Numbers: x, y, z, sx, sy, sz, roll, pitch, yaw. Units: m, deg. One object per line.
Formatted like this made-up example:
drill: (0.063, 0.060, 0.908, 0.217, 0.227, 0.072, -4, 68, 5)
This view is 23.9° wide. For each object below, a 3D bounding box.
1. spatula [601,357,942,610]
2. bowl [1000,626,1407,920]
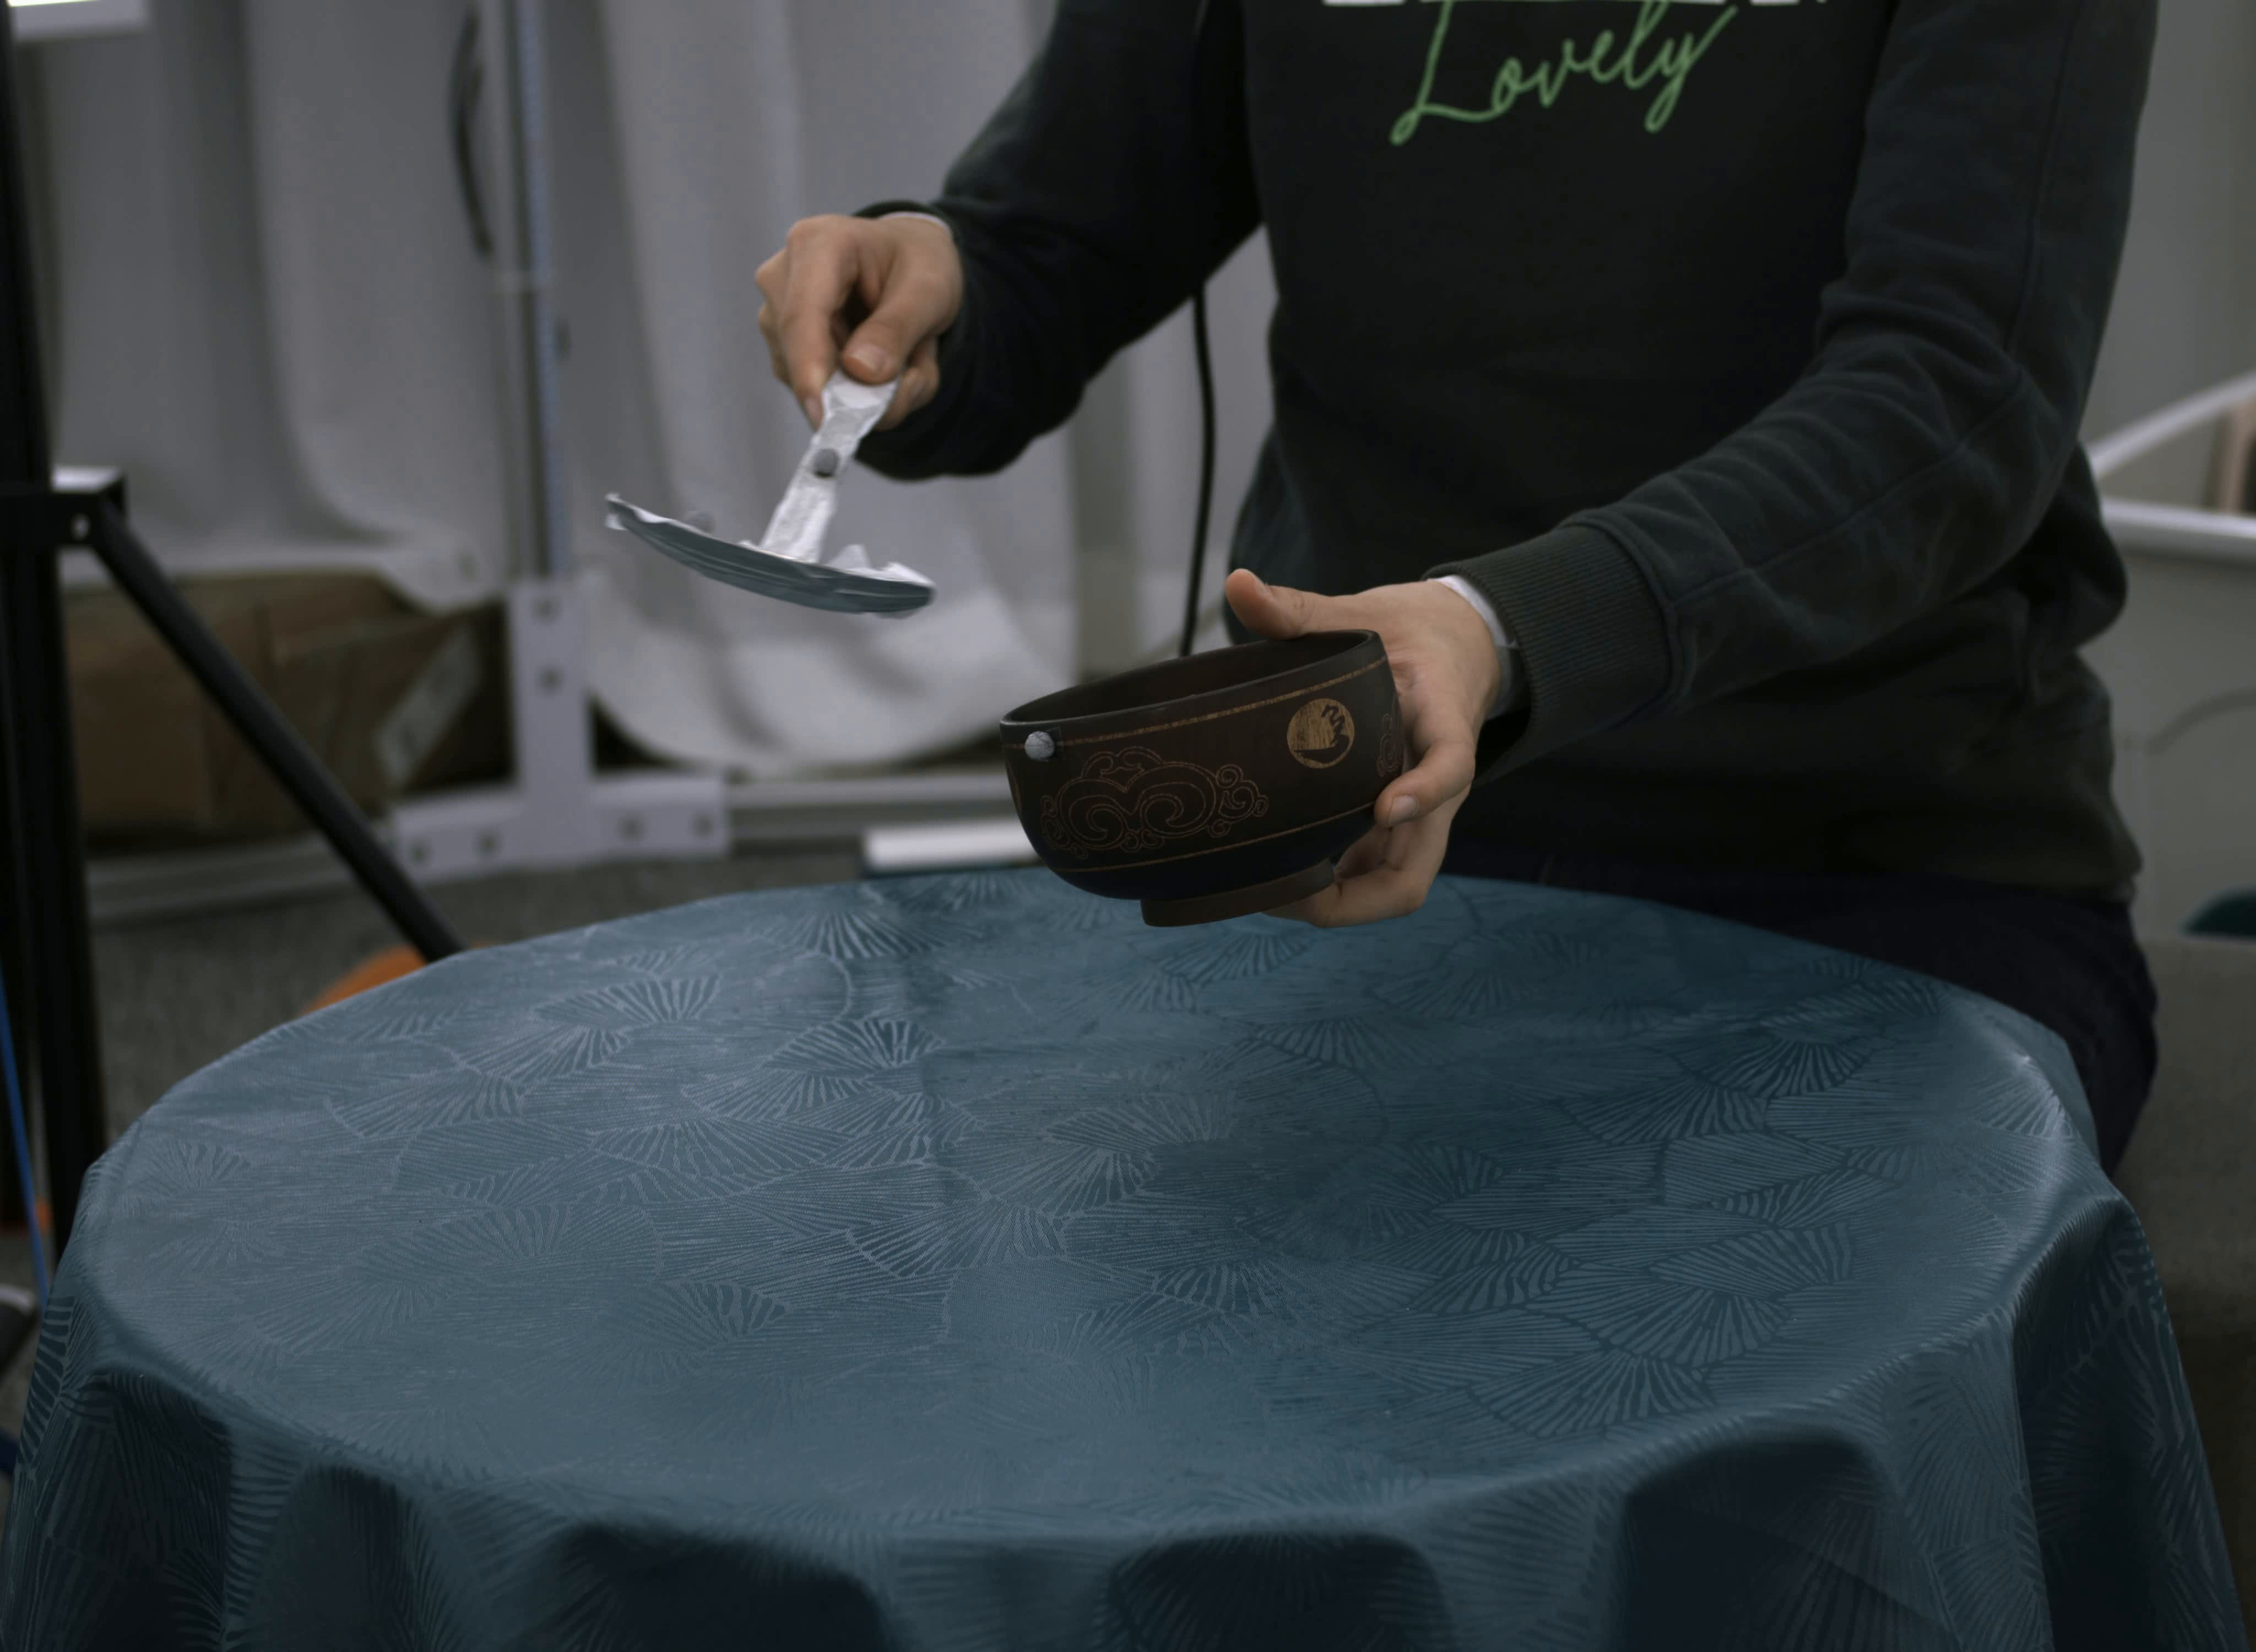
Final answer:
spatula: (-0.092, -0.120, 1.688, 0.098, 0.045, 0.365, 13, 20, 2)
bowl: (0.025, -0.013, 1.548, 0.117, 0.070, 0.118, -11, 7, 0)
